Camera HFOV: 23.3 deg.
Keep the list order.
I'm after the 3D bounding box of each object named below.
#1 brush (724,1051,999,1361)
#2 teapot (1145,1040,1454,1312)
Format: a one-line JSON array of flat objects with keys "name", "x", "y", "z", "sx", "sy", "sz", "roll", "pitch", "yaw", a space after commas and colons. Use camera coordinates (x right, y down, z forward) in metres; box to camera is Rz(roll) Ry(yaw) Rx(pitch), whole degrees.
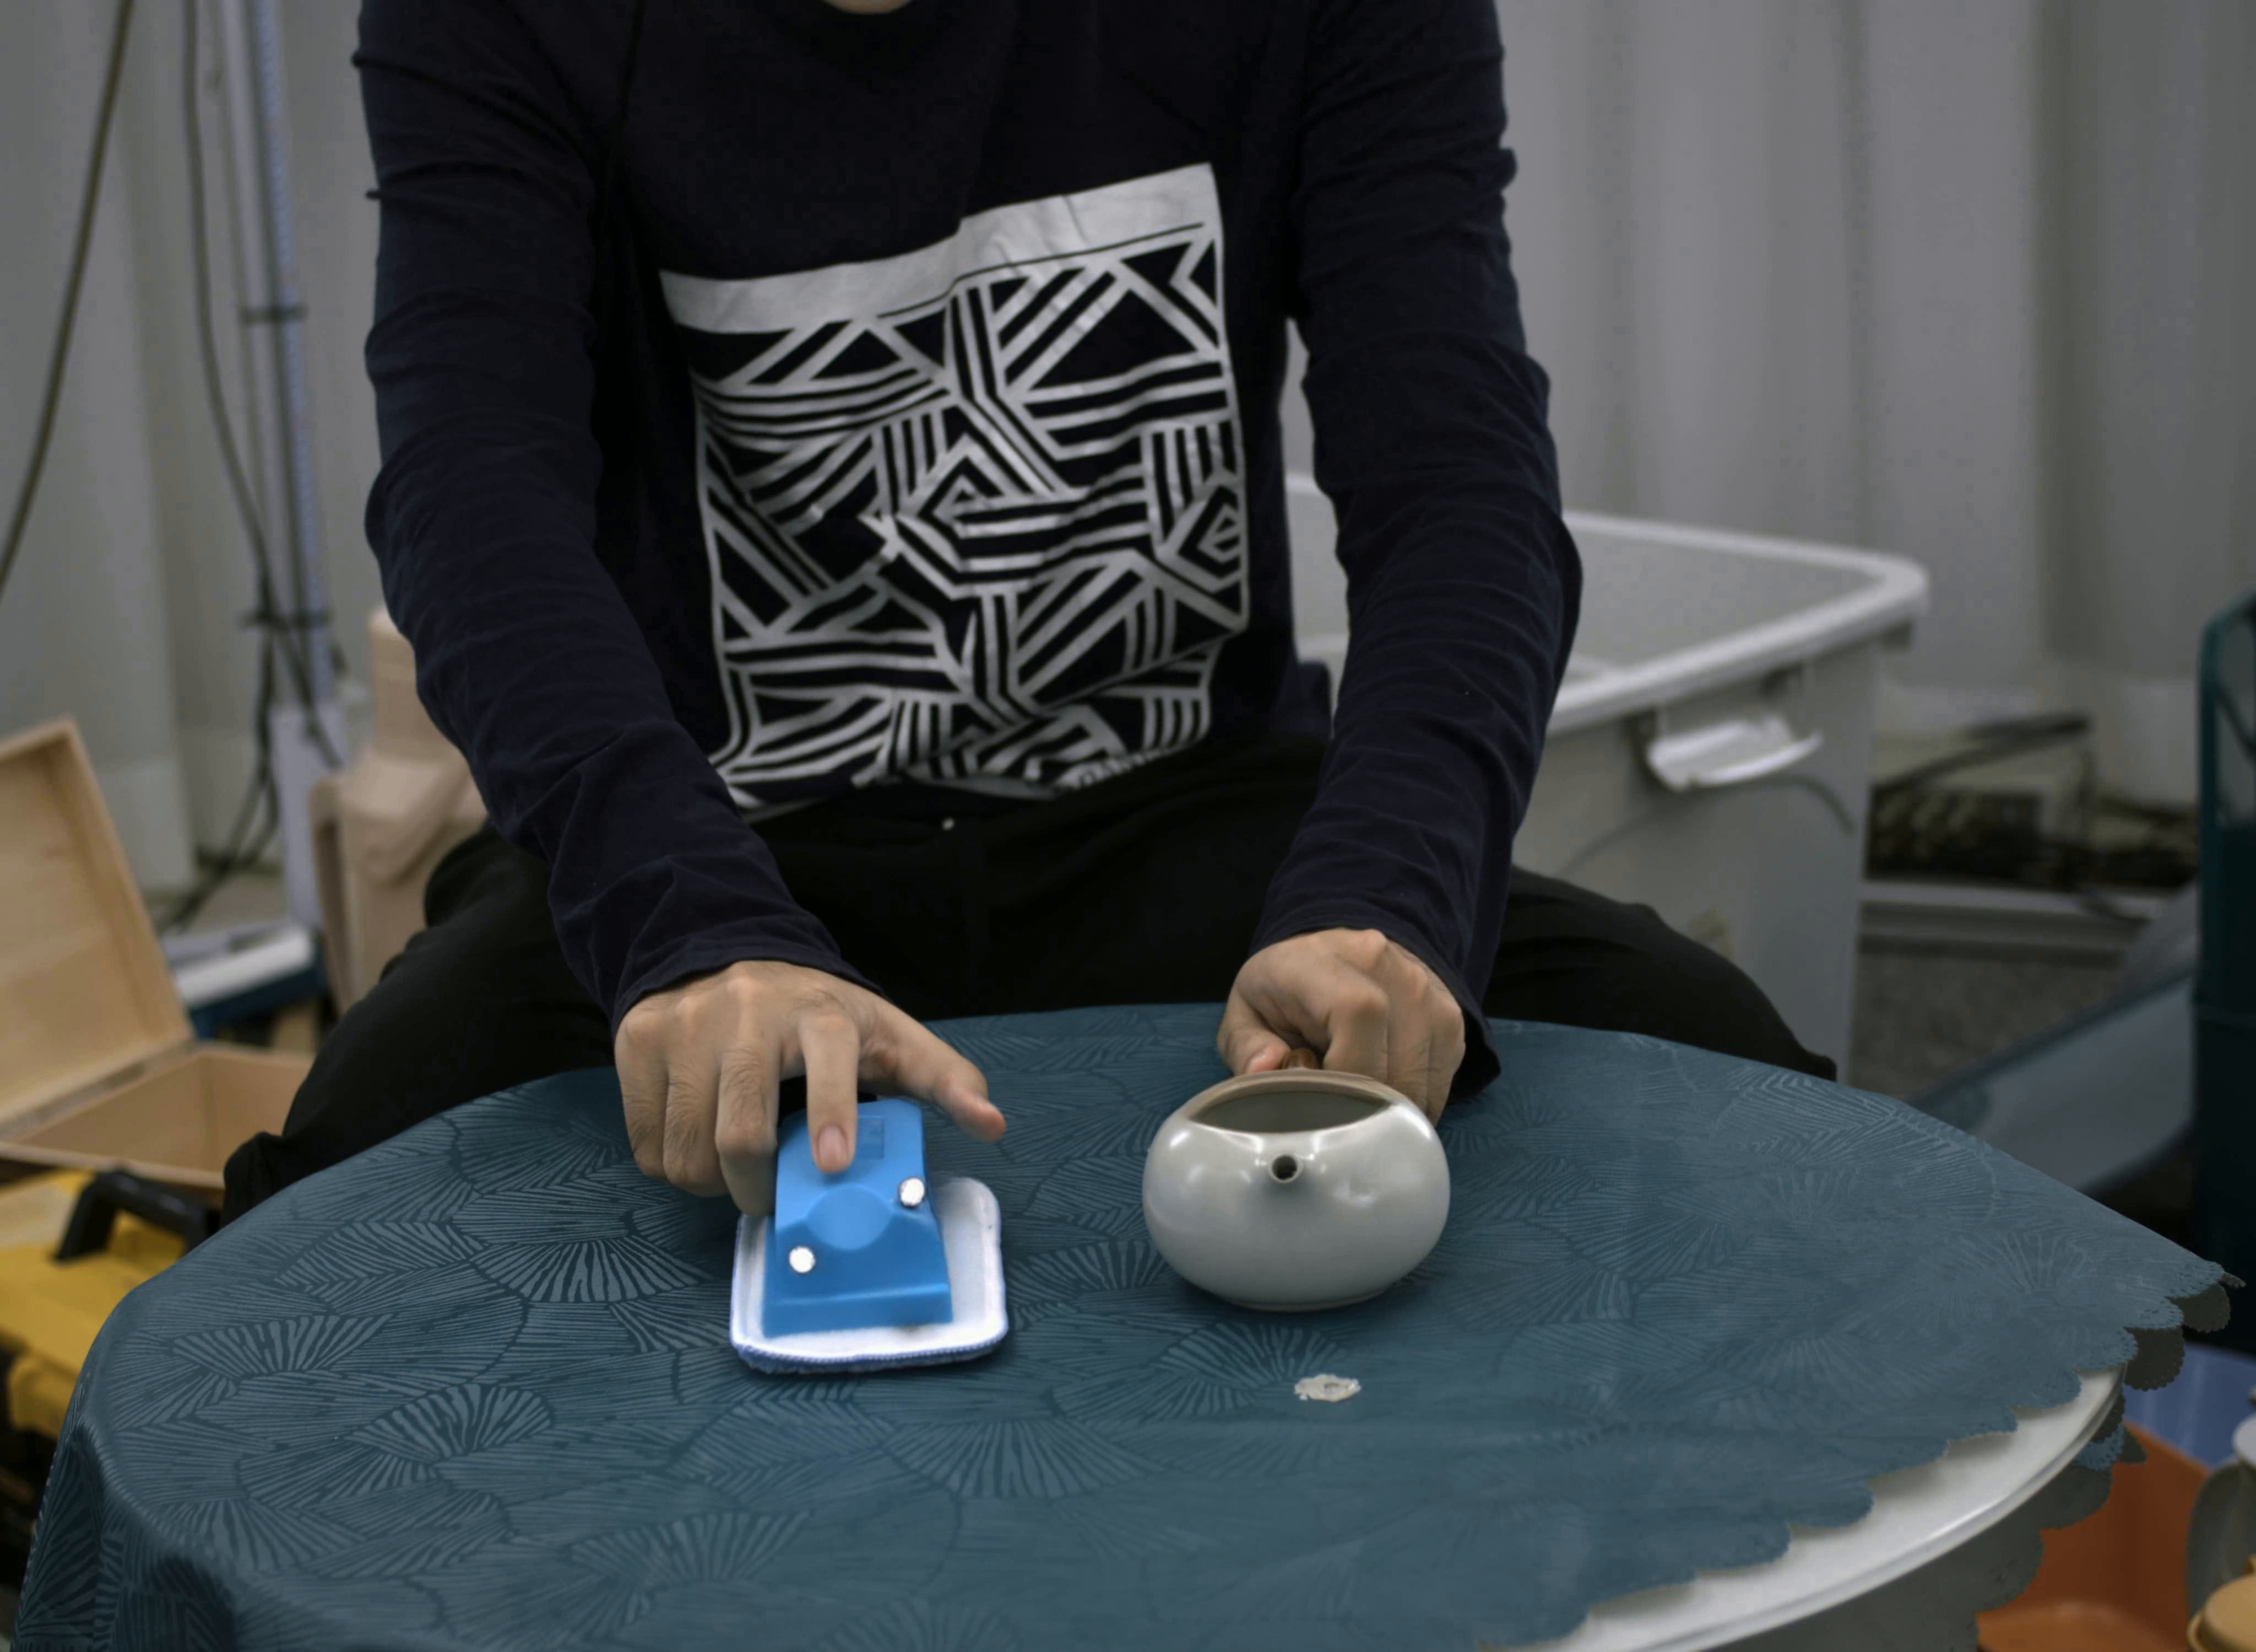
[{"name": "brush", "x": -0.078, "y": 0.109, "z": 1.622, "sx": 0.083, "sy": 0.055, "sz": 0.145, "roll": 2, "pitch": 21, "yaw": -3}, {"name": "teapot", "x": 0.051, "y": 0.104, "z": 1.629, "sx": 0.091, "sy": 0.059, "sz": 0.129, "roll": -6, "pitch": 16, "yaw": 3}]
